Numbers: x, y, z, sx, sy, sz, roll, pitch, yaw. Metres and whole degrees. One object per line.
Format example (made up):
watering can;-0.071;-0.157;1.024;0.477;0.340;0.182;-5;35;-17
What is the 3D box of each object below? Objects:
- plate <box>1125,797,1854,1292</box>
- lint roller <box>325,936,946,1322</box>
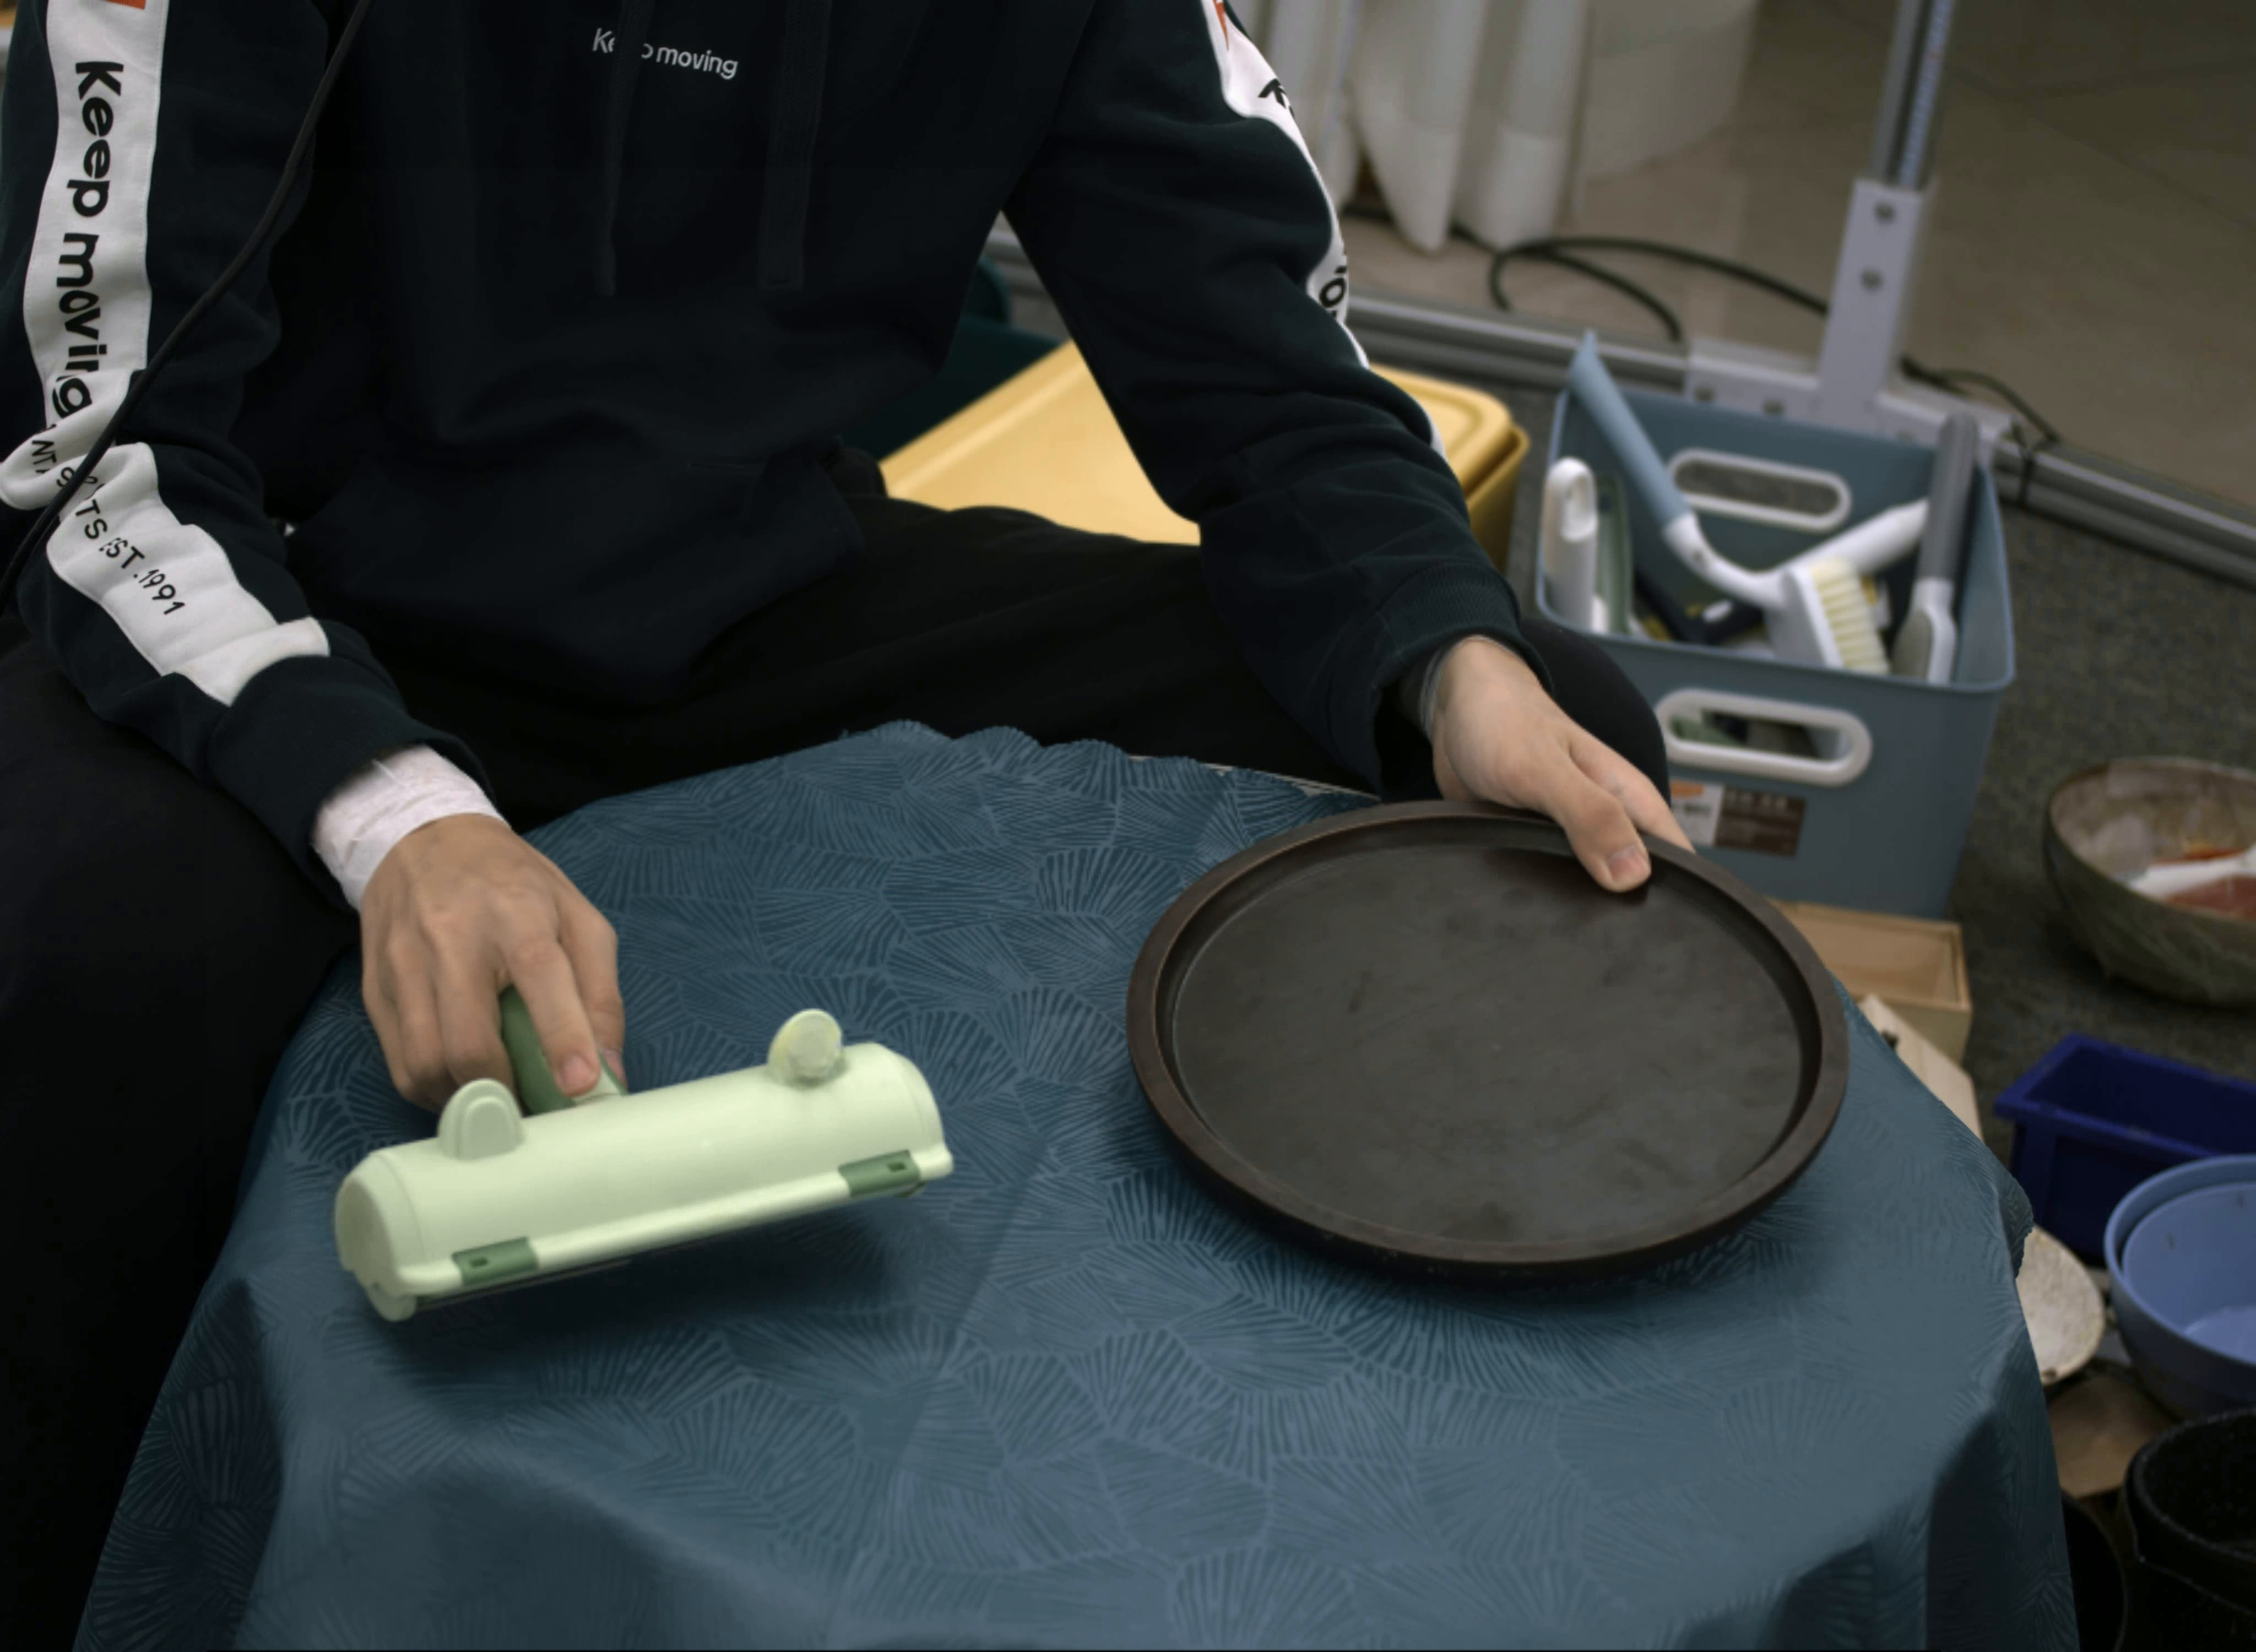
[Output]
plate;0.125;0.075;1.848;0.254;0.029;0.257;-1;38;0
lint roller;-0.182;0.074;1.730;0.197;0.082;0.185;-12;43;-27
